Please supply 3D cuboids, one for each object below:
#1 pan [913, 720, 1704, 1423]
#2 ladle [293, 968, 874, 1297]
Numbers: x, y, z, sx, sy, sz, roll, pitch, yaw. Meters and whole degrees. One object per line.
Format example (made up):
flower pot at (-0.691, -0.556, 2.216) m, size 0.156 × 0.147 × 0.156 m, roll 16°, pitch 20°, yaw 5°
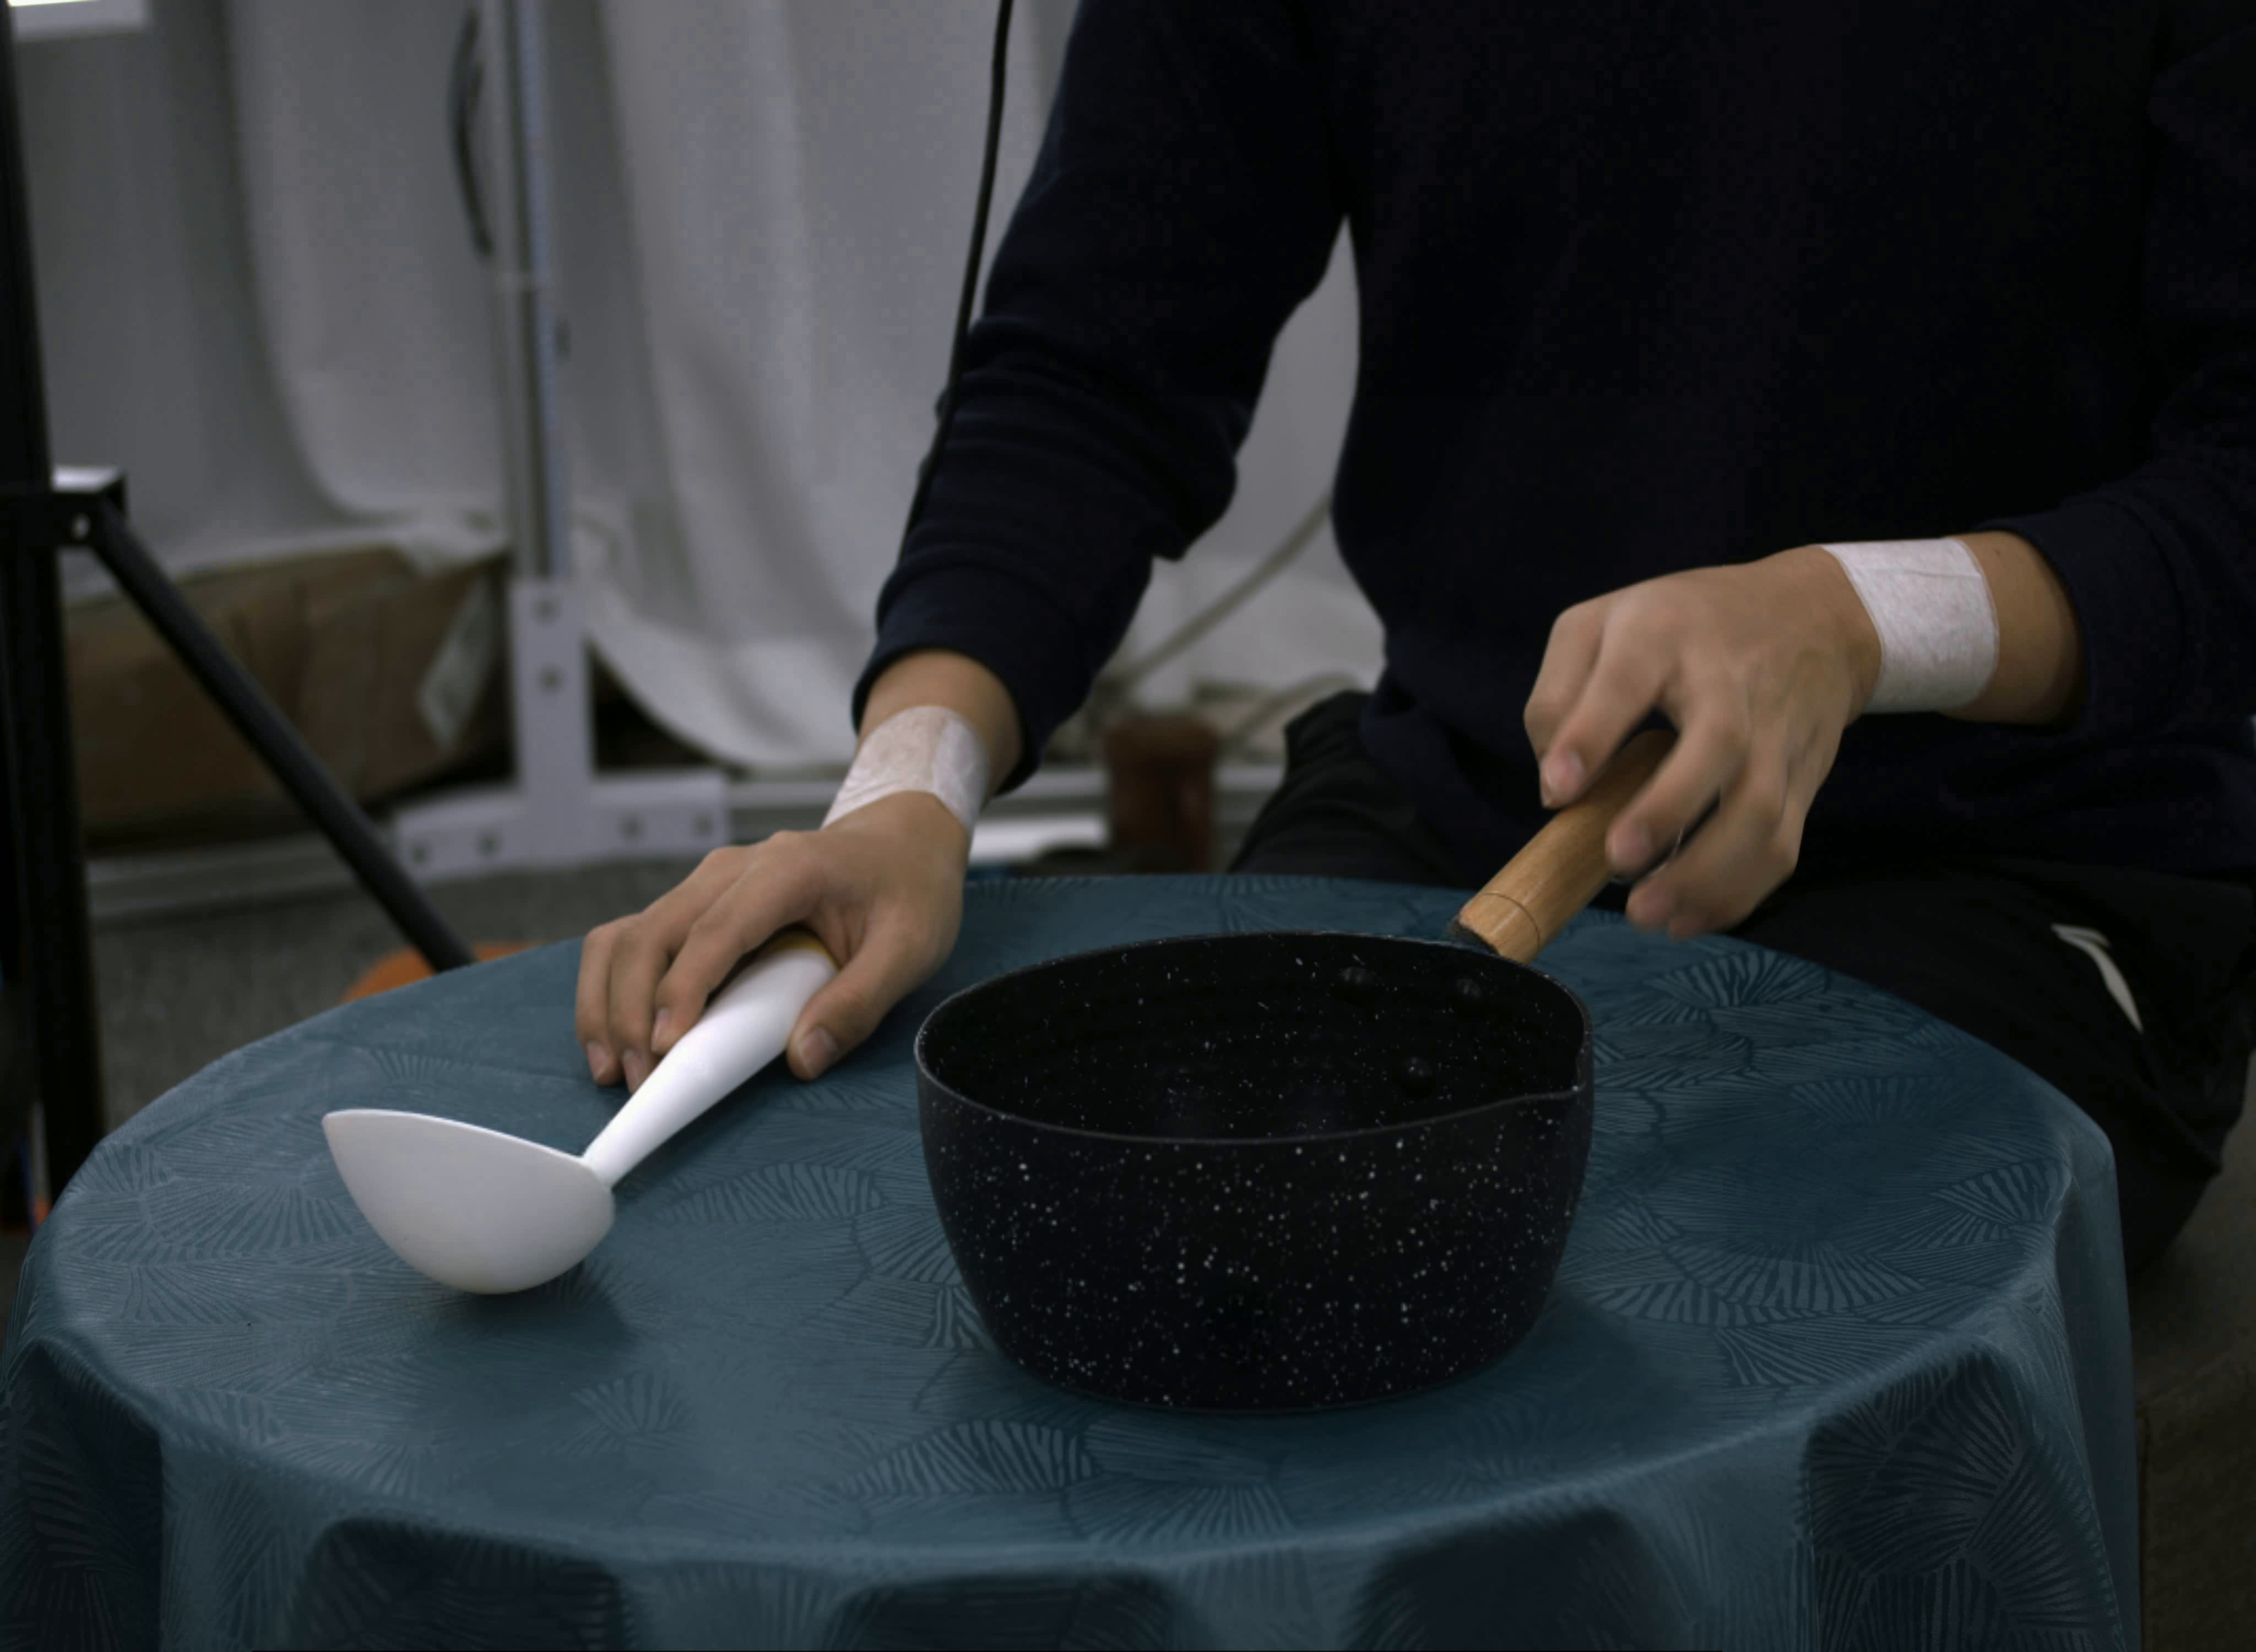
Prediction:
pan at (0.076, 0.064, 1.502) m, size 0.211 × 0.108 × 0.336 m, roll 6°, pitch 19°, yaw 32°
ladle at (-0.148, 0.076, 1.593) m, size 0.091 × 0.070 × 0.289 m, roll 5°, pitch 16°, yaw 21°
